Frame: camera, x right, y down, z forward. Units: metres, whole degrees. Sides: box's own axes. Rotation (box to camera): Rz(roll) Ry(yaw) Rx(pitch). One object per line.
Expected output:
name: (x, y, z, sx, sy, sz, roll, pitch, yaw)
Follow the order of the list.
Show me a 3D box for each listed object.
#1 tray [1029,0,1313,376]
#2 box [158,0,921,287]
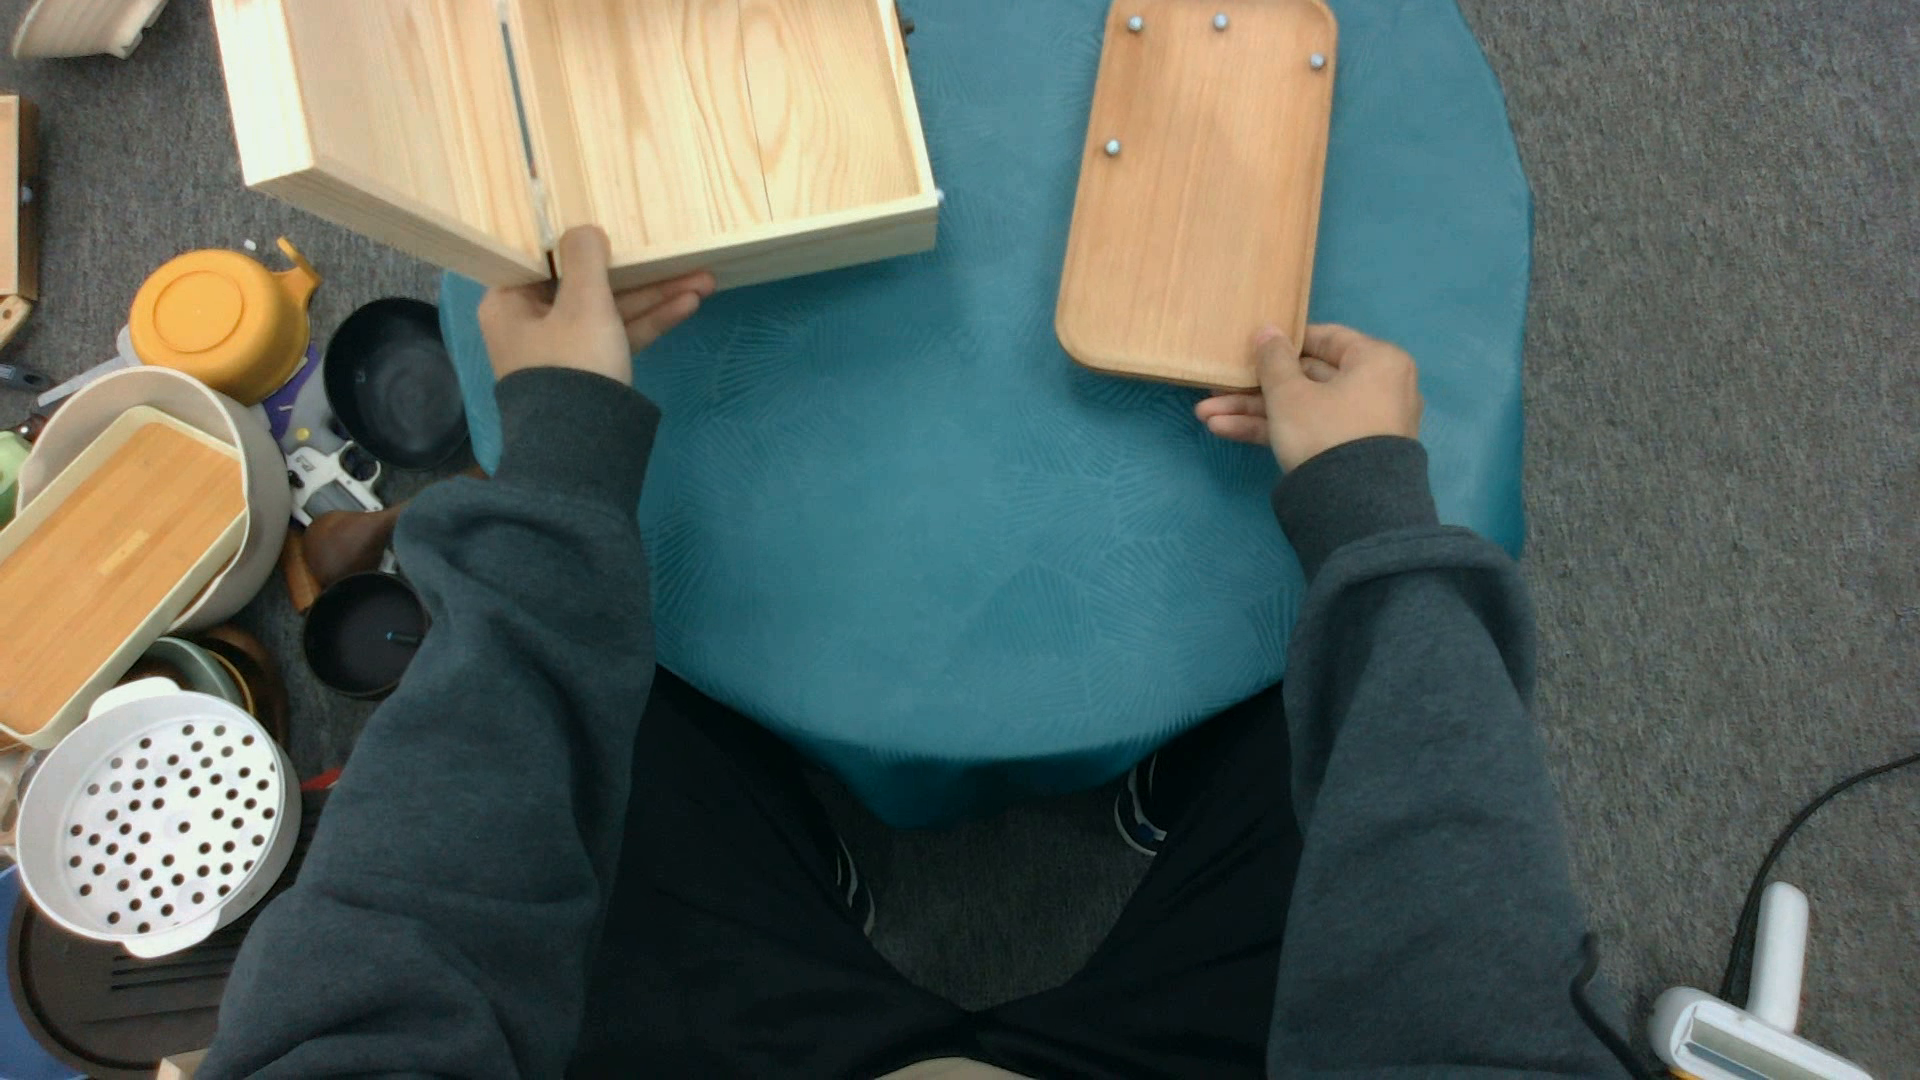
tray: (0.116, -0.203, 0.738, 0.130, 0.023, 0.251, 8, 70, 9)
box: (-0.155, -0.228, 0.589, 0.265, 0.253, 0.181, -14, 92, -4)
